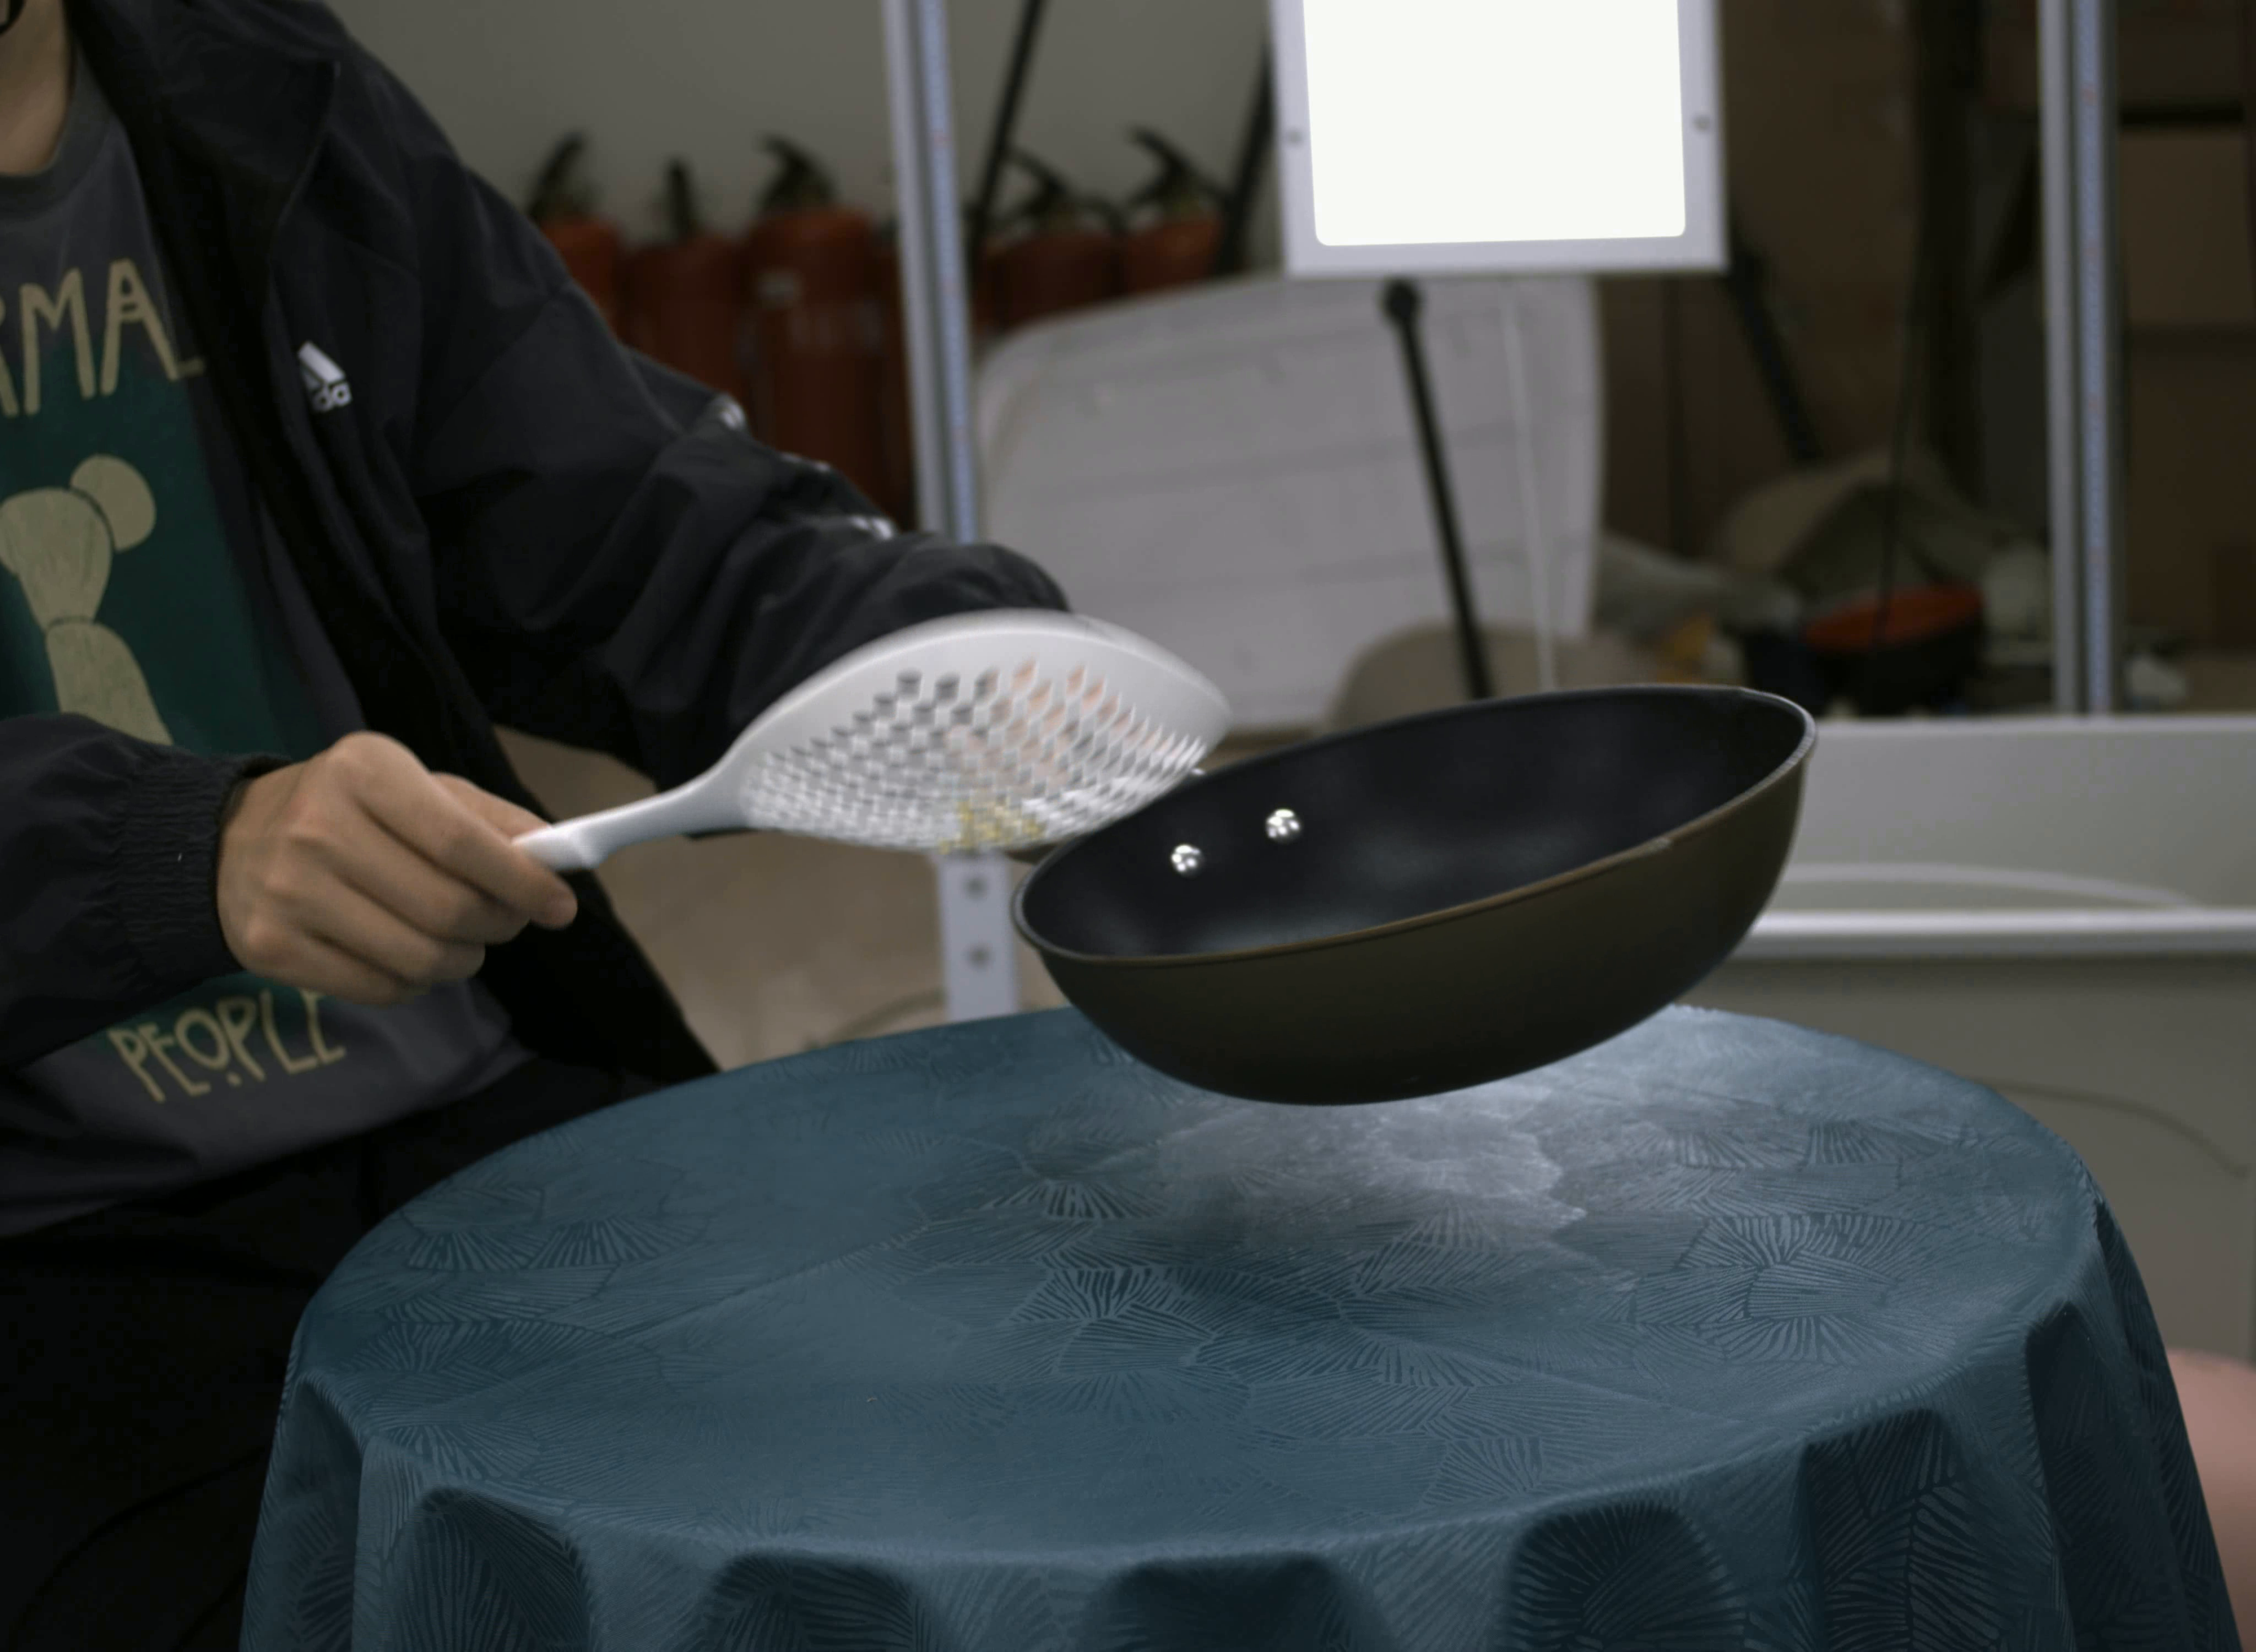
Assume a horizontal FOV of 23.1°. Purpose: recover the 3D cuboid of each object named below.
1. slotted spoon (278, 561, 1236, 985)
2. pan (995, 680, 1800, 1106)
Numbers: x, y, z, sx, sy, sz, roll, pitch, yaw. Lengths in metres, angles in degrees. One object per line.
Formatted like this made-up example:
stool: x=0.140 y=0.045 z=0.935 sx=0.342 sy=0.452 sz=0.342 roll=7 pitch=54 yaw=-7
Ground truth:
slotted spoon: x=-0.128 y=-0.004 z=1.769 sx=0.354 sy=0.050 sz=0.134 roll=-14 pitch=-29 yaw=30
pan: x=0.055 y=0.023 z=1.956 sx=0.282 sy=0.087 sz=0.472 roll=-22 pitch=14 yaw=-25
